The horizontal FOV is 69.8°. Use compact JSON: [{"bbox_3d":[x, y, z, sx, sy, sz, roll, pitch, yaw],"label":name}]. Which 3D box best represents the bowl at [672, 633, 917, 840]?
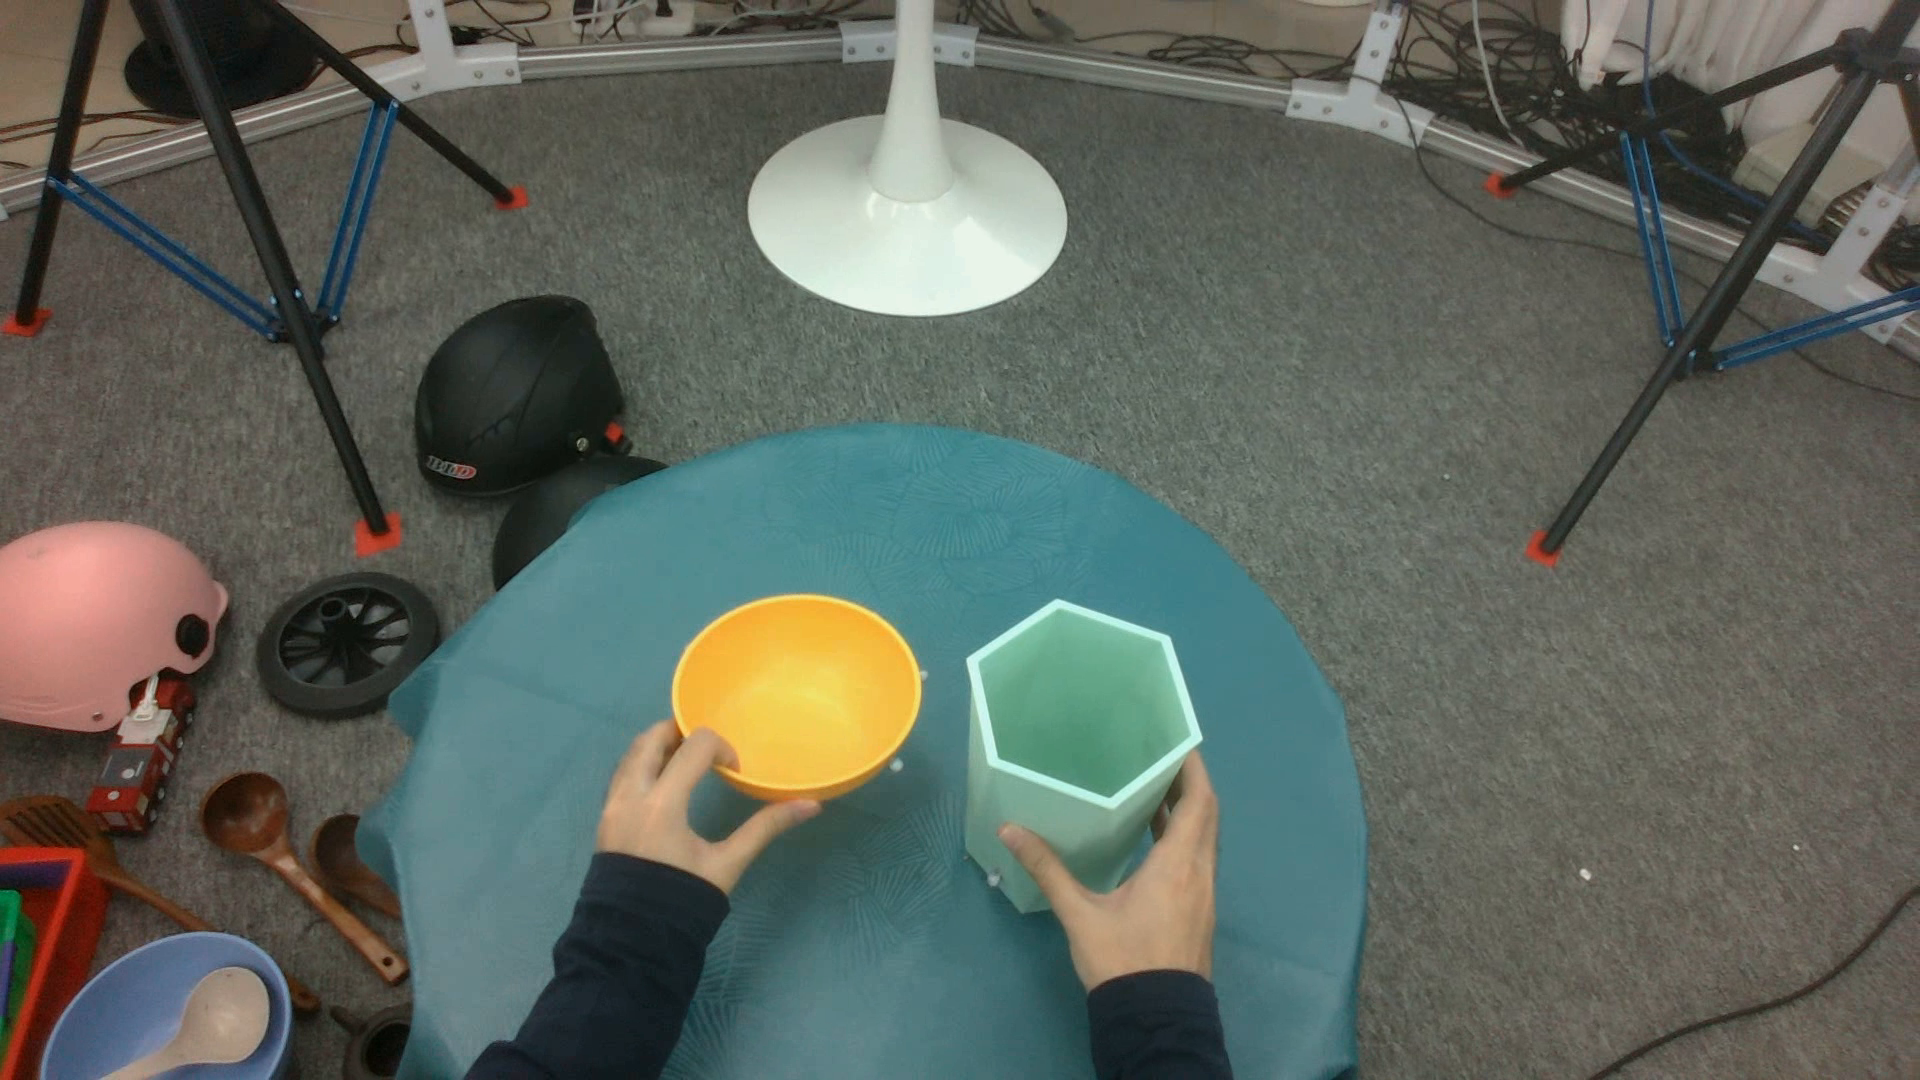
[{"bbox_3d":[-0.099,0.129,0.836,0.145,0.060,0.146,2,45,-2],"label":"bowl"}]

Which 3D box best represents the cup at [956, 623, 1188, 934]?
[{"bbox_3d":[0.055,0.146,0.796,0.131,0.162,0.116,16,51,10],"label":"cup"}]
